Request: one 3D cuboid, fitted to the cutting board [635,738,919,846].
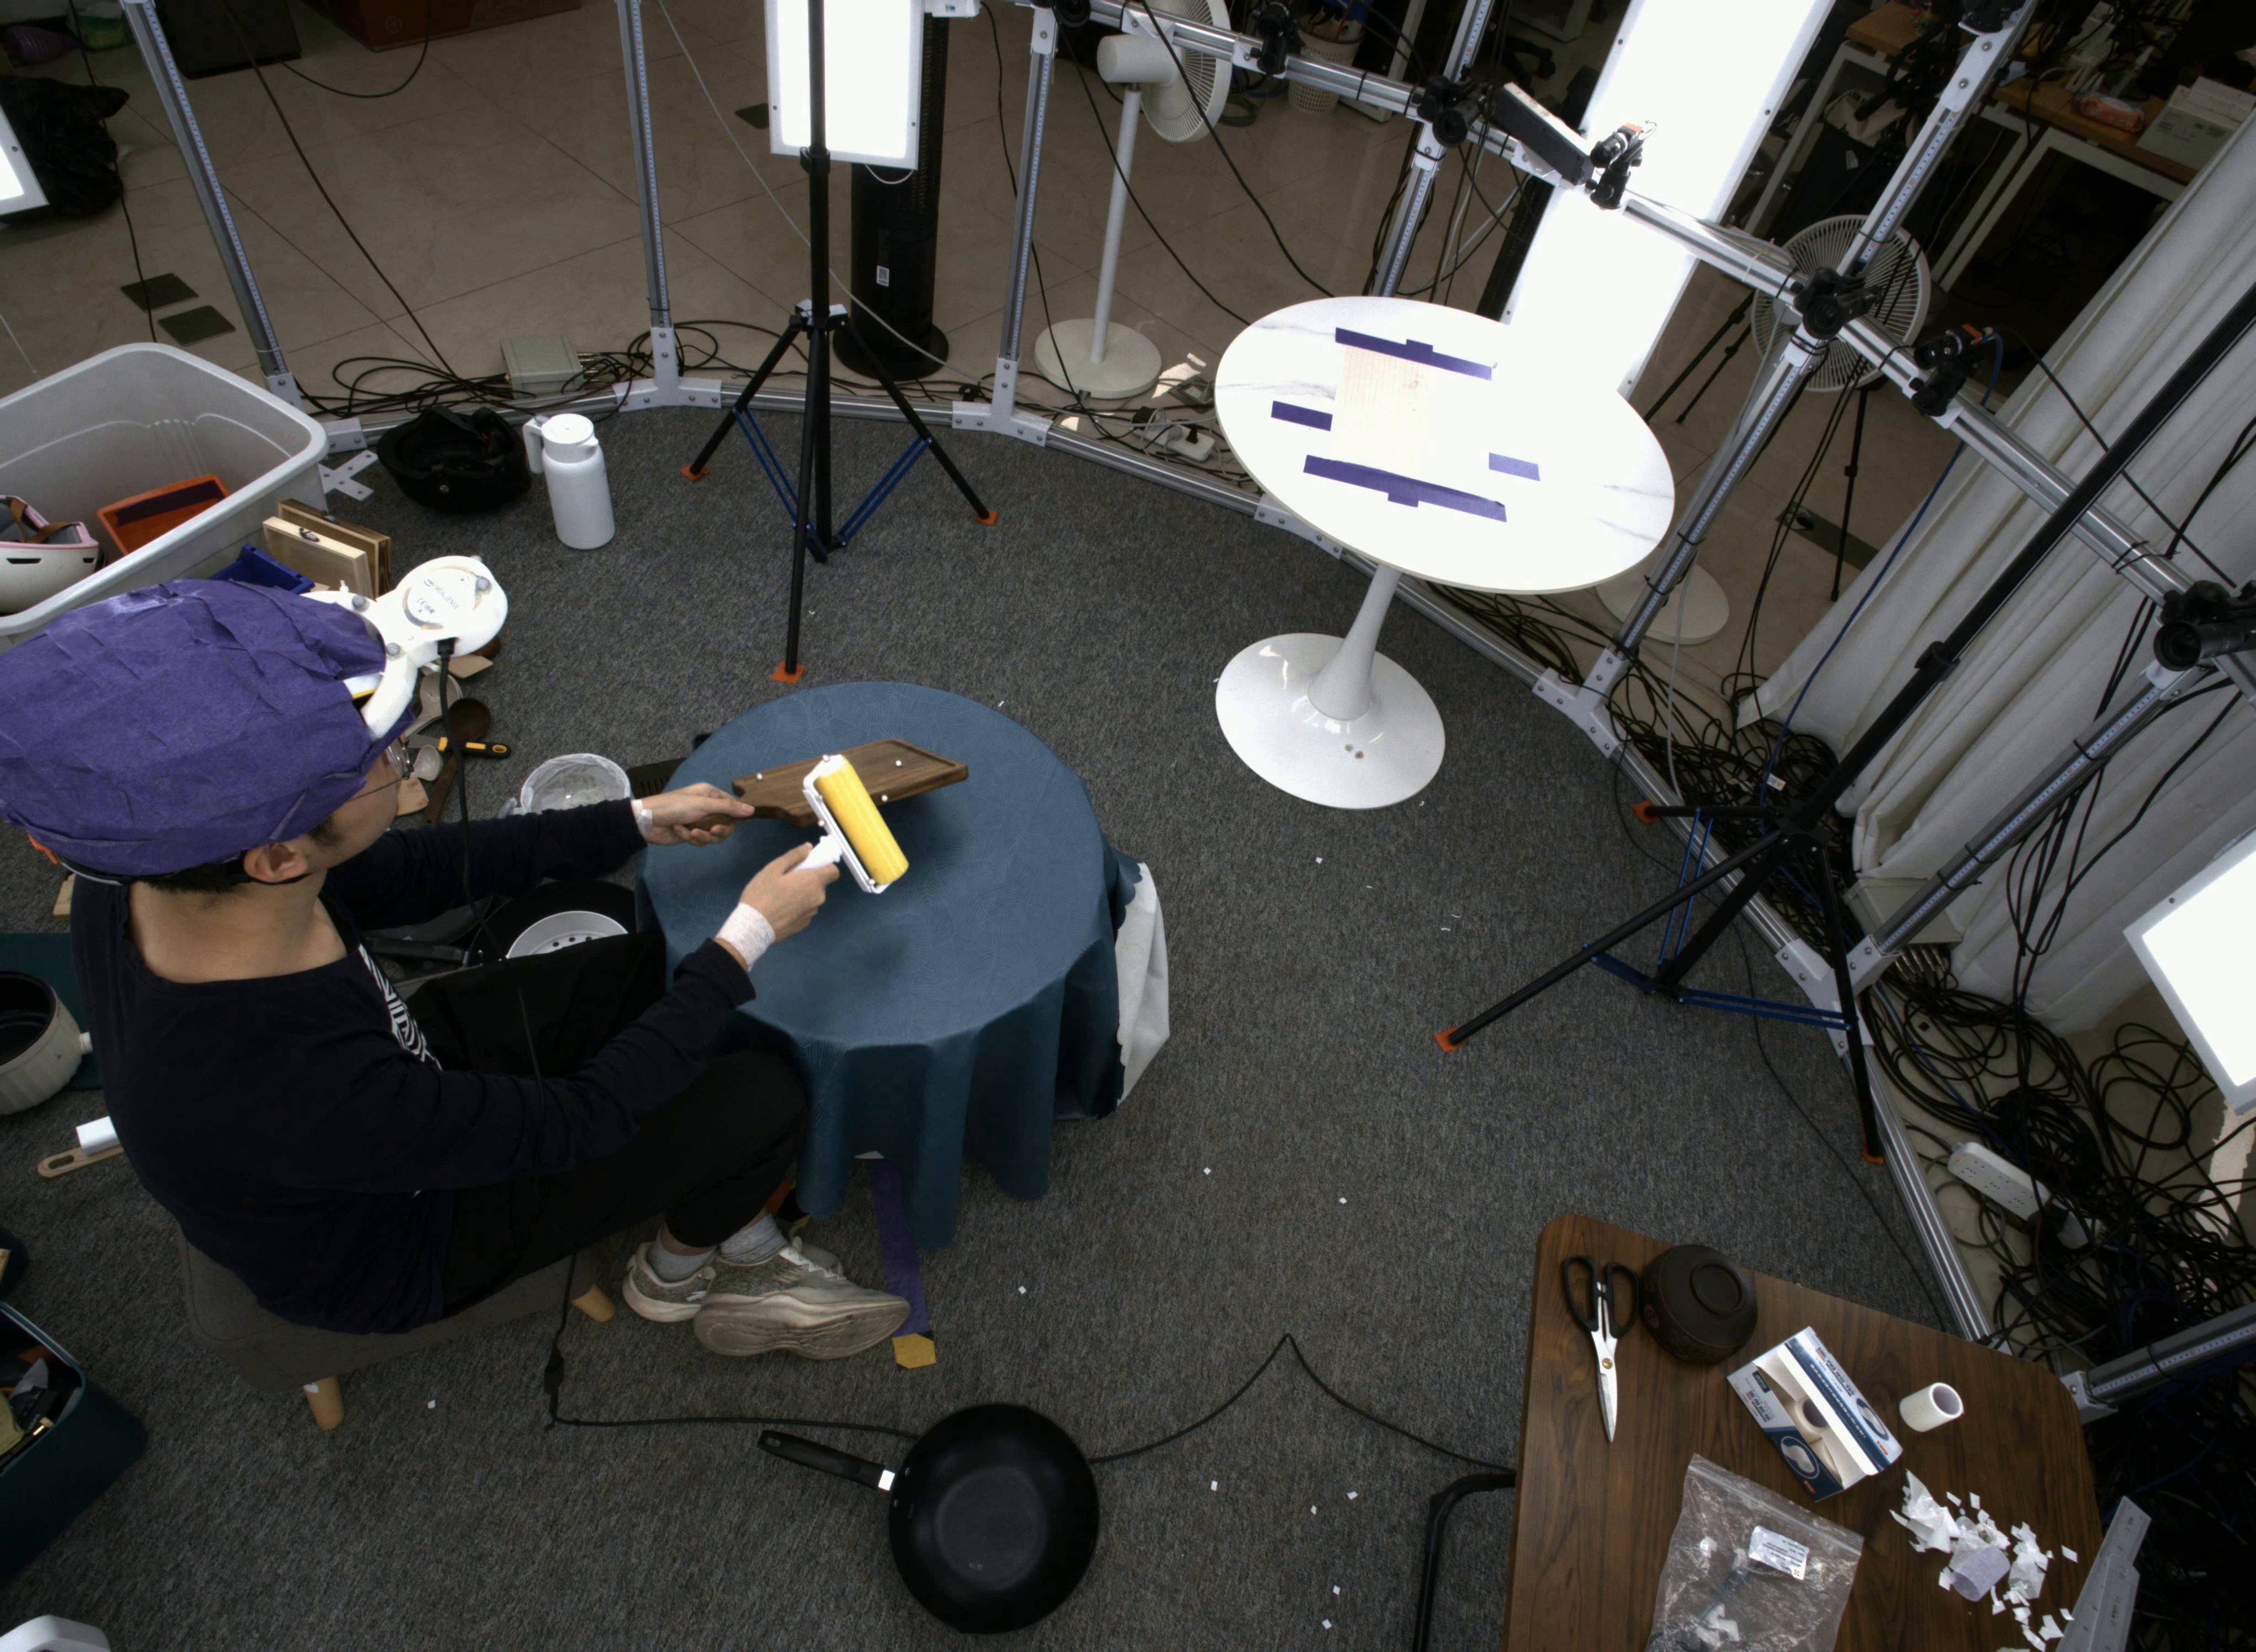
[{"bbox_3d":[-0.462,-0.042,1.649,0.355,0.024,0.193,-22,29,-39],"label":"cutting board"}]

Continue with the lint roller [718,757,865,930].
[{"bbox_3d":[-0.401,0.044,1.489,0.050,0.181,0.190,-4,40,32],"label":"lint roller"}]
